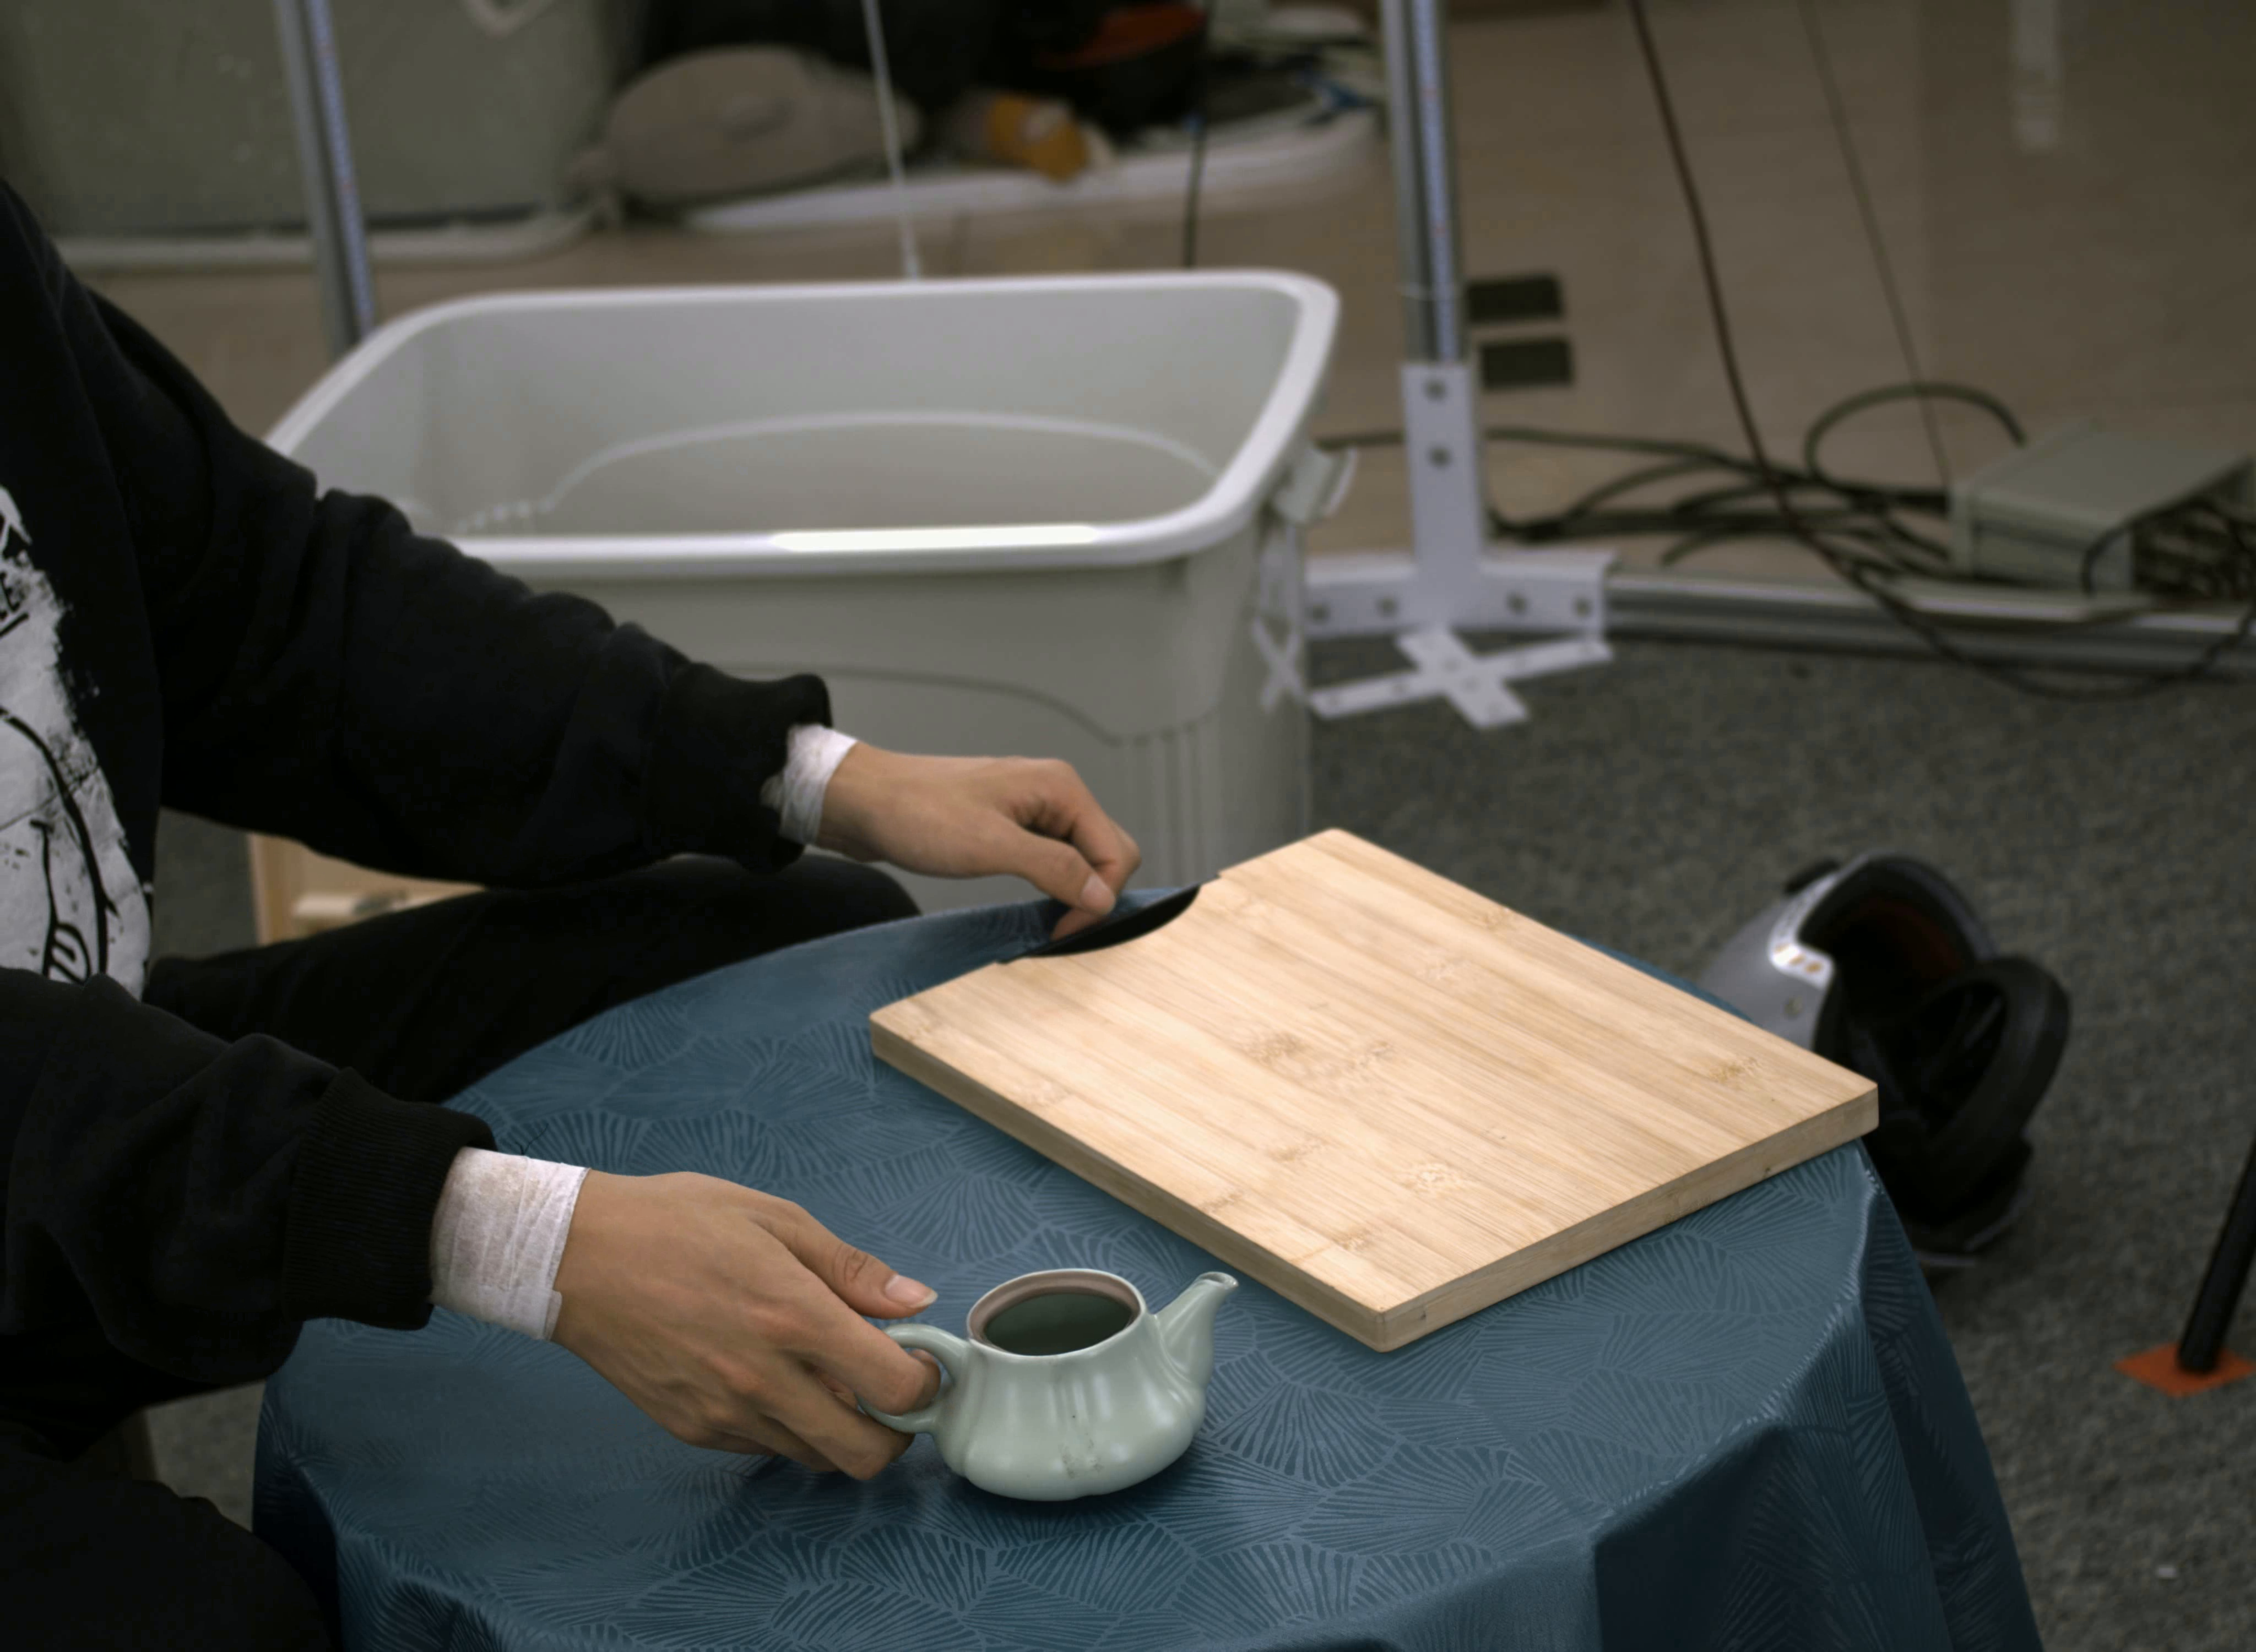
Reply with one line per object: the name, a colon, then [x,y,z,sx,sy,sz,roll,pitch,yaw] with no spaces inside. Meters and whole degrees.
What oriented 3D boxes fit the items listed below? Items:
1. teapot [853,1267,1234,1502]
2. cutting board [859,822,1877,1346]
teapot: [-0.027,0.193,1.970,0.136,0.062,0.095,-10,27,-8]
cutting board: [0.087,0.094,2.207,0.249,0.024,0.345,-22,29,-30]
